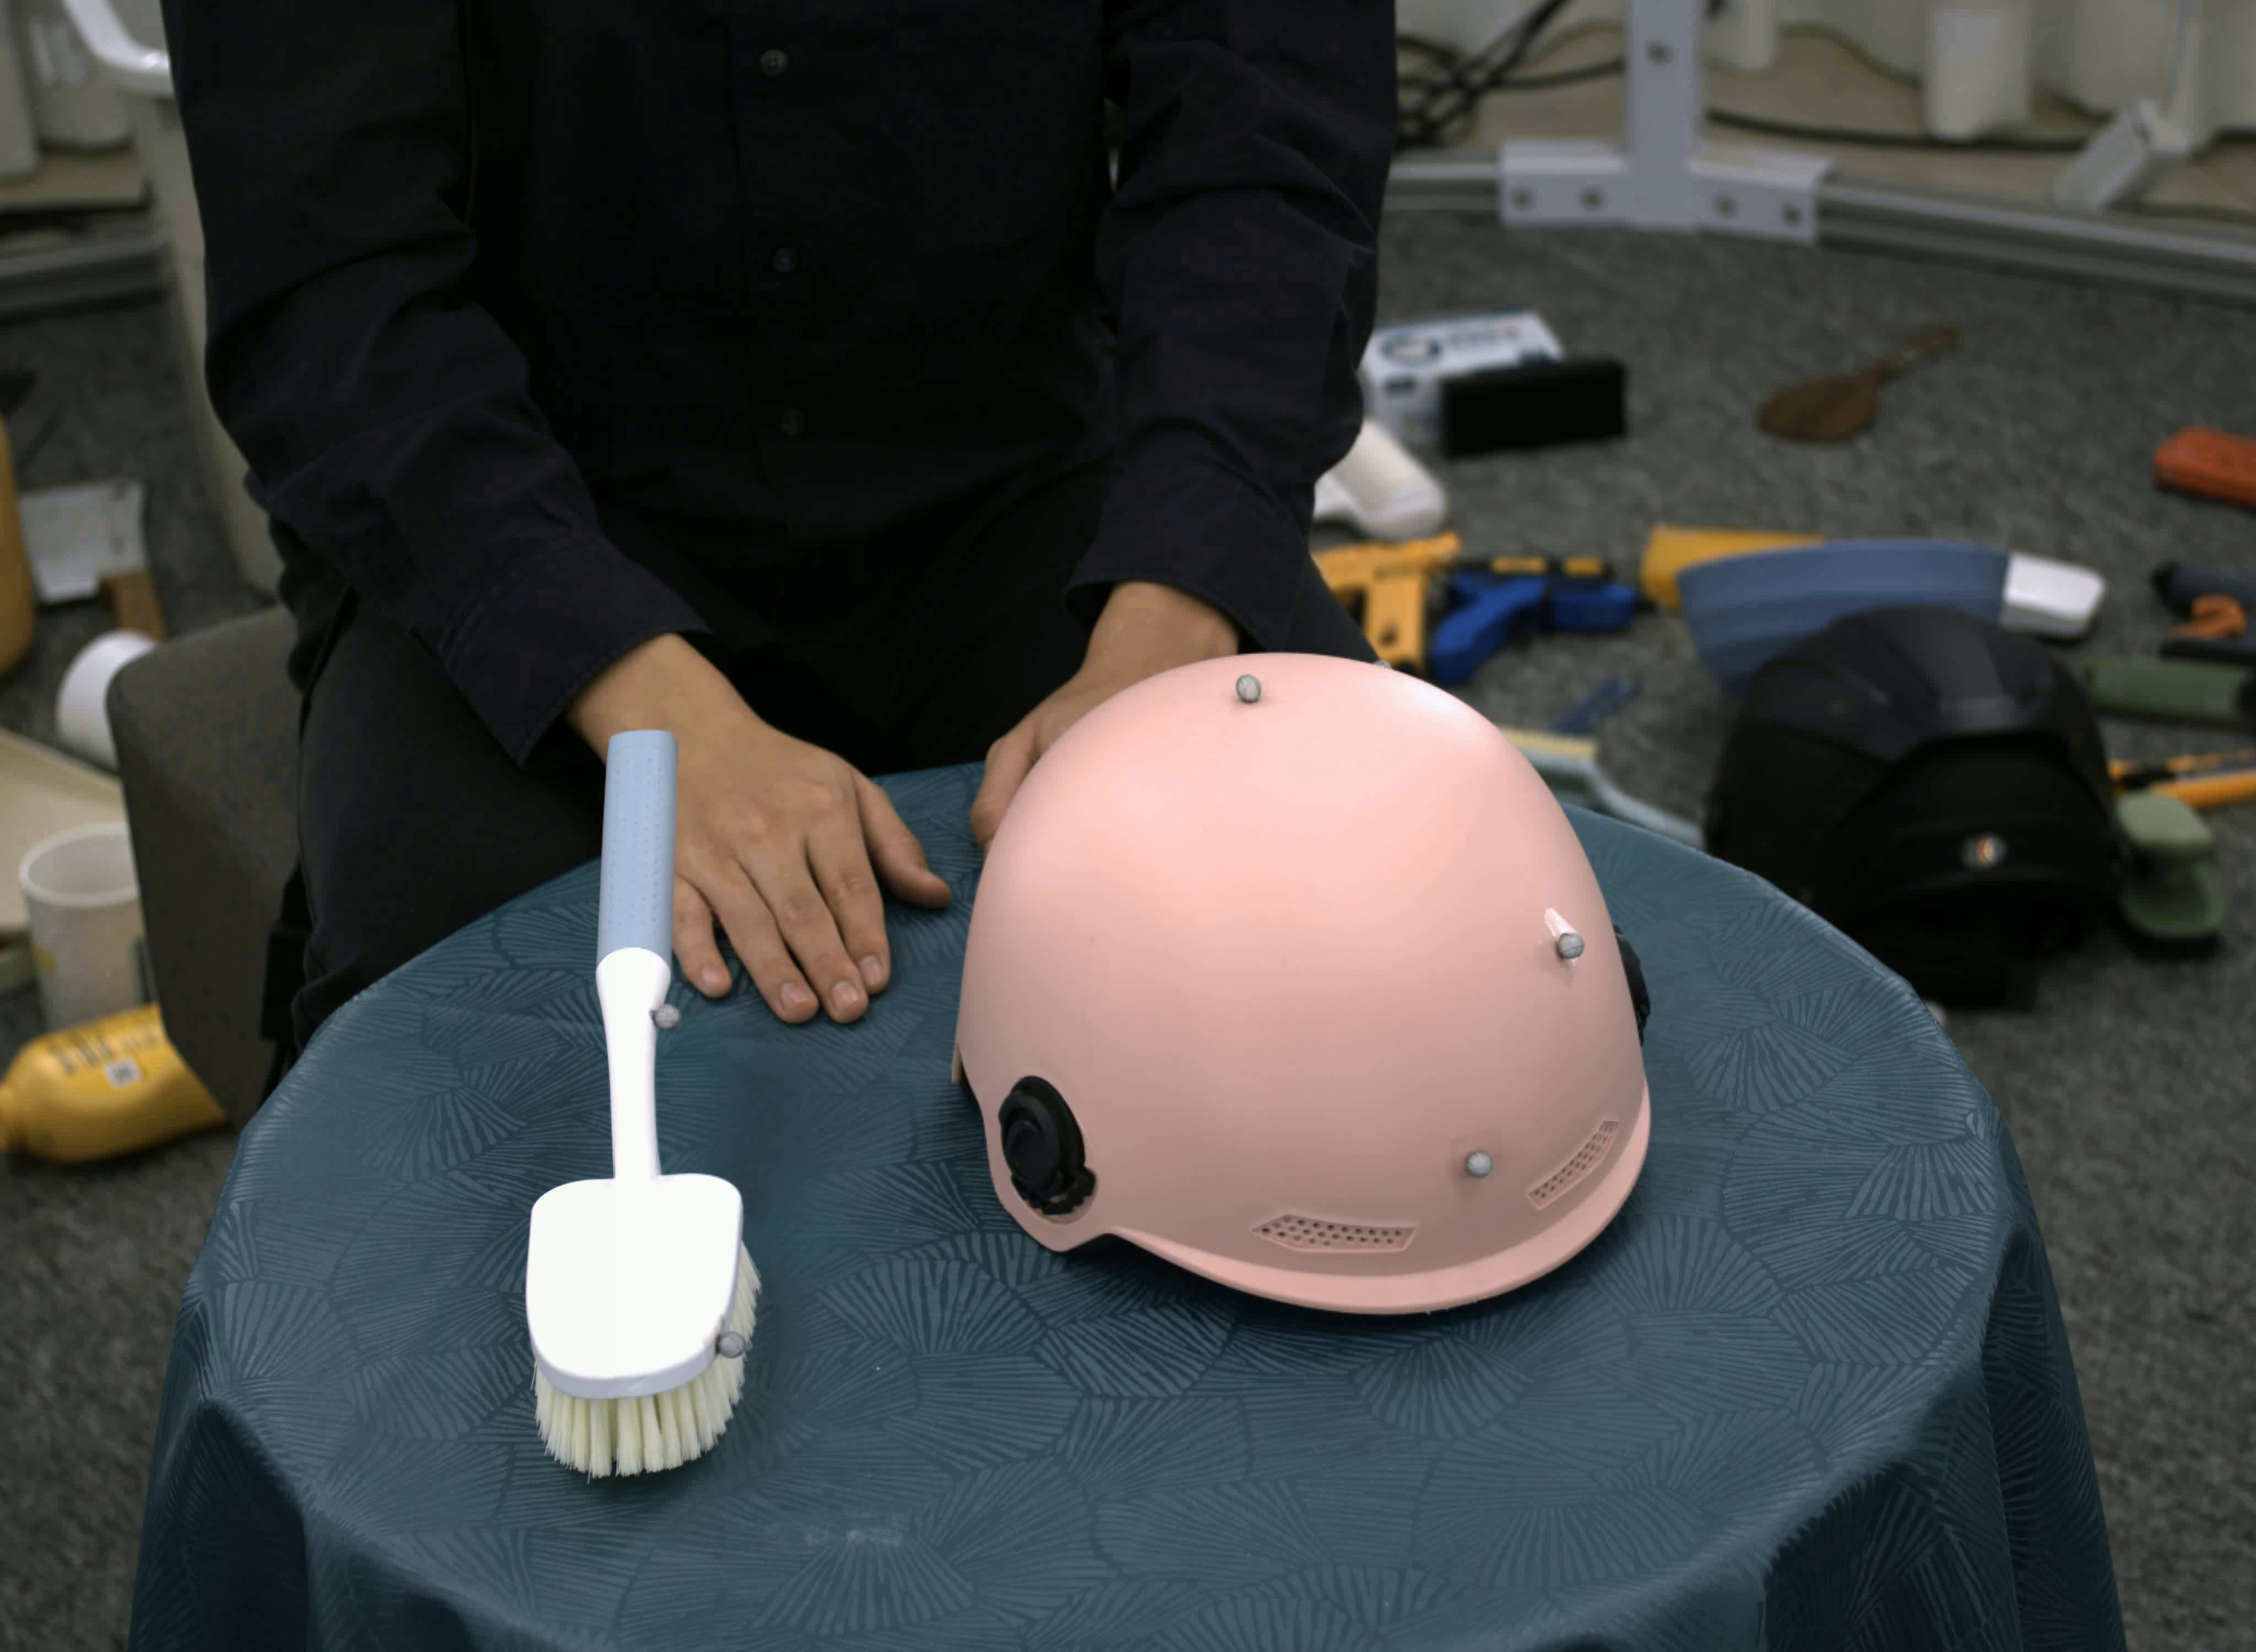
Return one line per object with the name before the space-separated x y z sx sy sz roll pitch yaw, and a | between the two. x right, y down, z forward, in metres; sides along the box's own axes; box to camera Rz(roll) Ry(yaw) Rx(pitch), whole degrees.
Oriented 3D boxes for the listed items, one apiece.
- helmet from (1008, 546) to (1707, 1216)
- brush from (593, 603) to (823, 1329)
helmet | 0.077 0.000 1.872 0.235 0.157 0.268 -14 33 -21
brush | -0.134 0.054 1.860 0.083 0.083 0.331 27 33 -22
